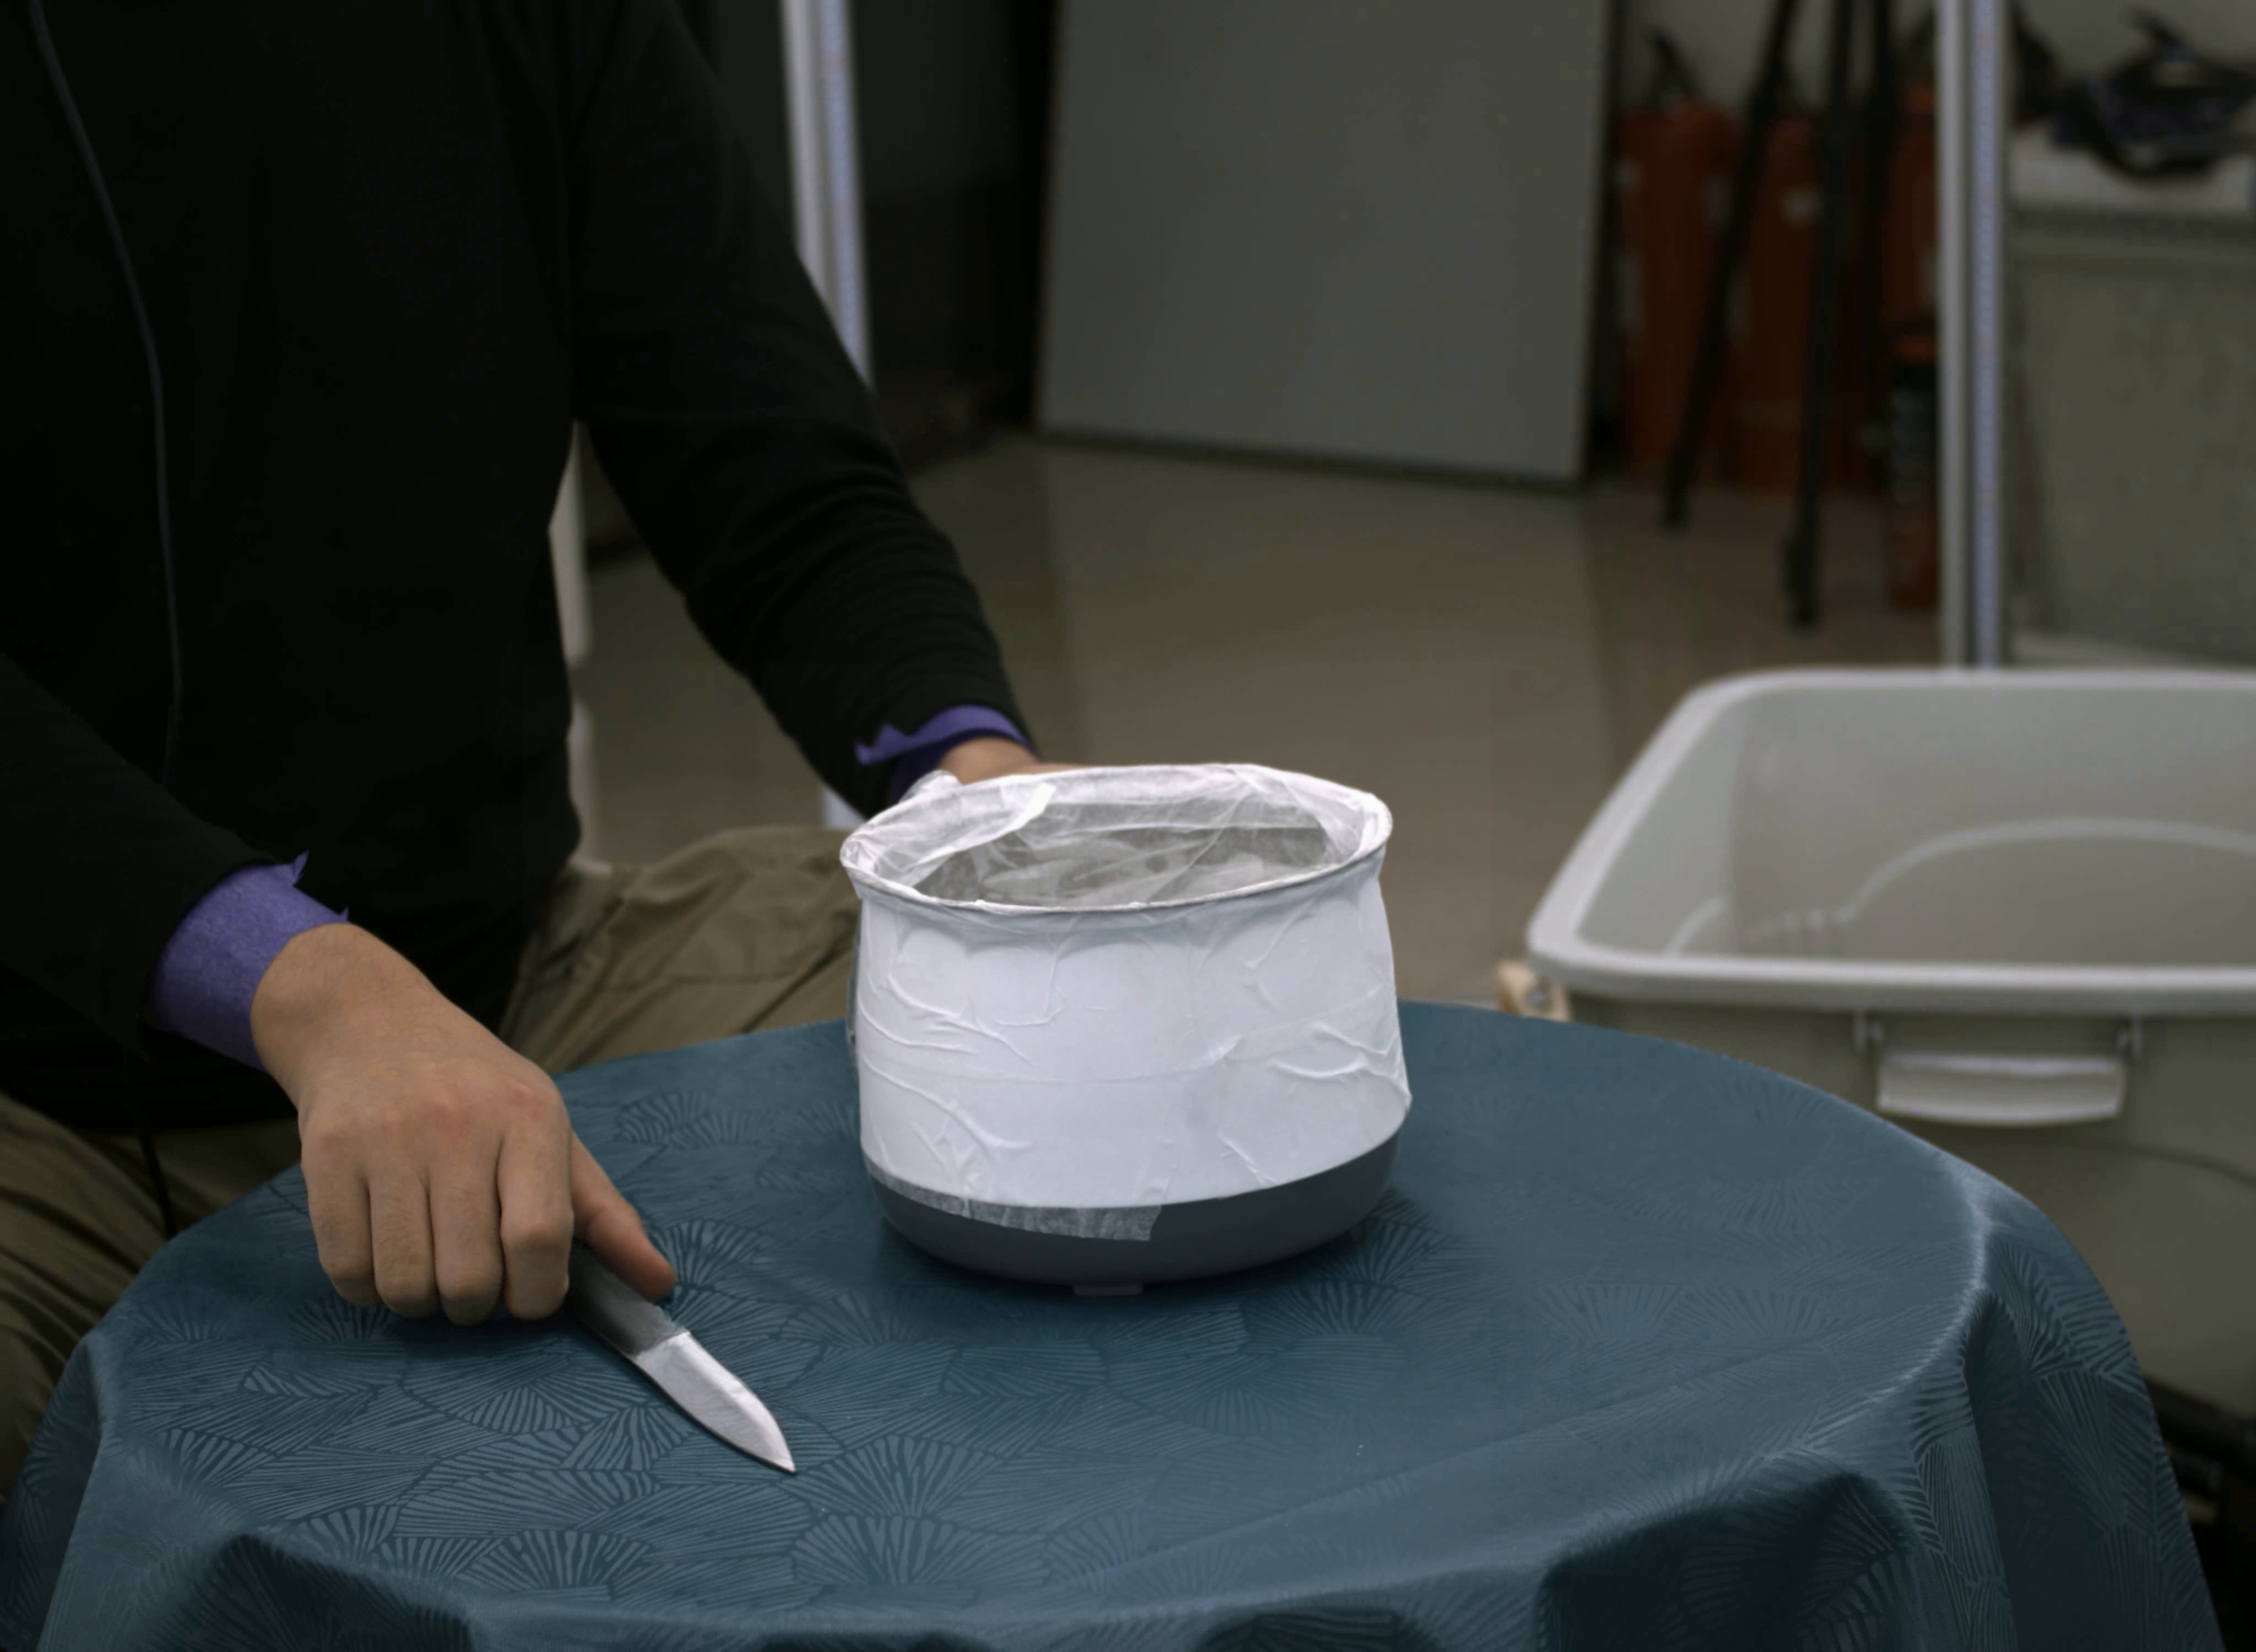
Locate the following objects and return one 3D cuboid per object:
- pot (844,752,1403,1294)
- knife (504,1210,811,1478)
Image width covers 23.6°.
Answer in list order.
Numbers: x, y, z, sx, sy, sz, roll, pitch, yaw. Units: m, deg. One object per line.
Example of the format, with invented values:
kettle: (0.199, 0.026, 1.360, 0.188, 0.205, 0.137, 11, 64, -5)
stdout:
pot: (-0.017, 0.056, 1.744, 0.175, 0.138, 0.236, -13, 17, -35)
knife: (-0.145, 0.158, 1.645, 0.024, 0.016, 0.240, -12, 18, -23)
